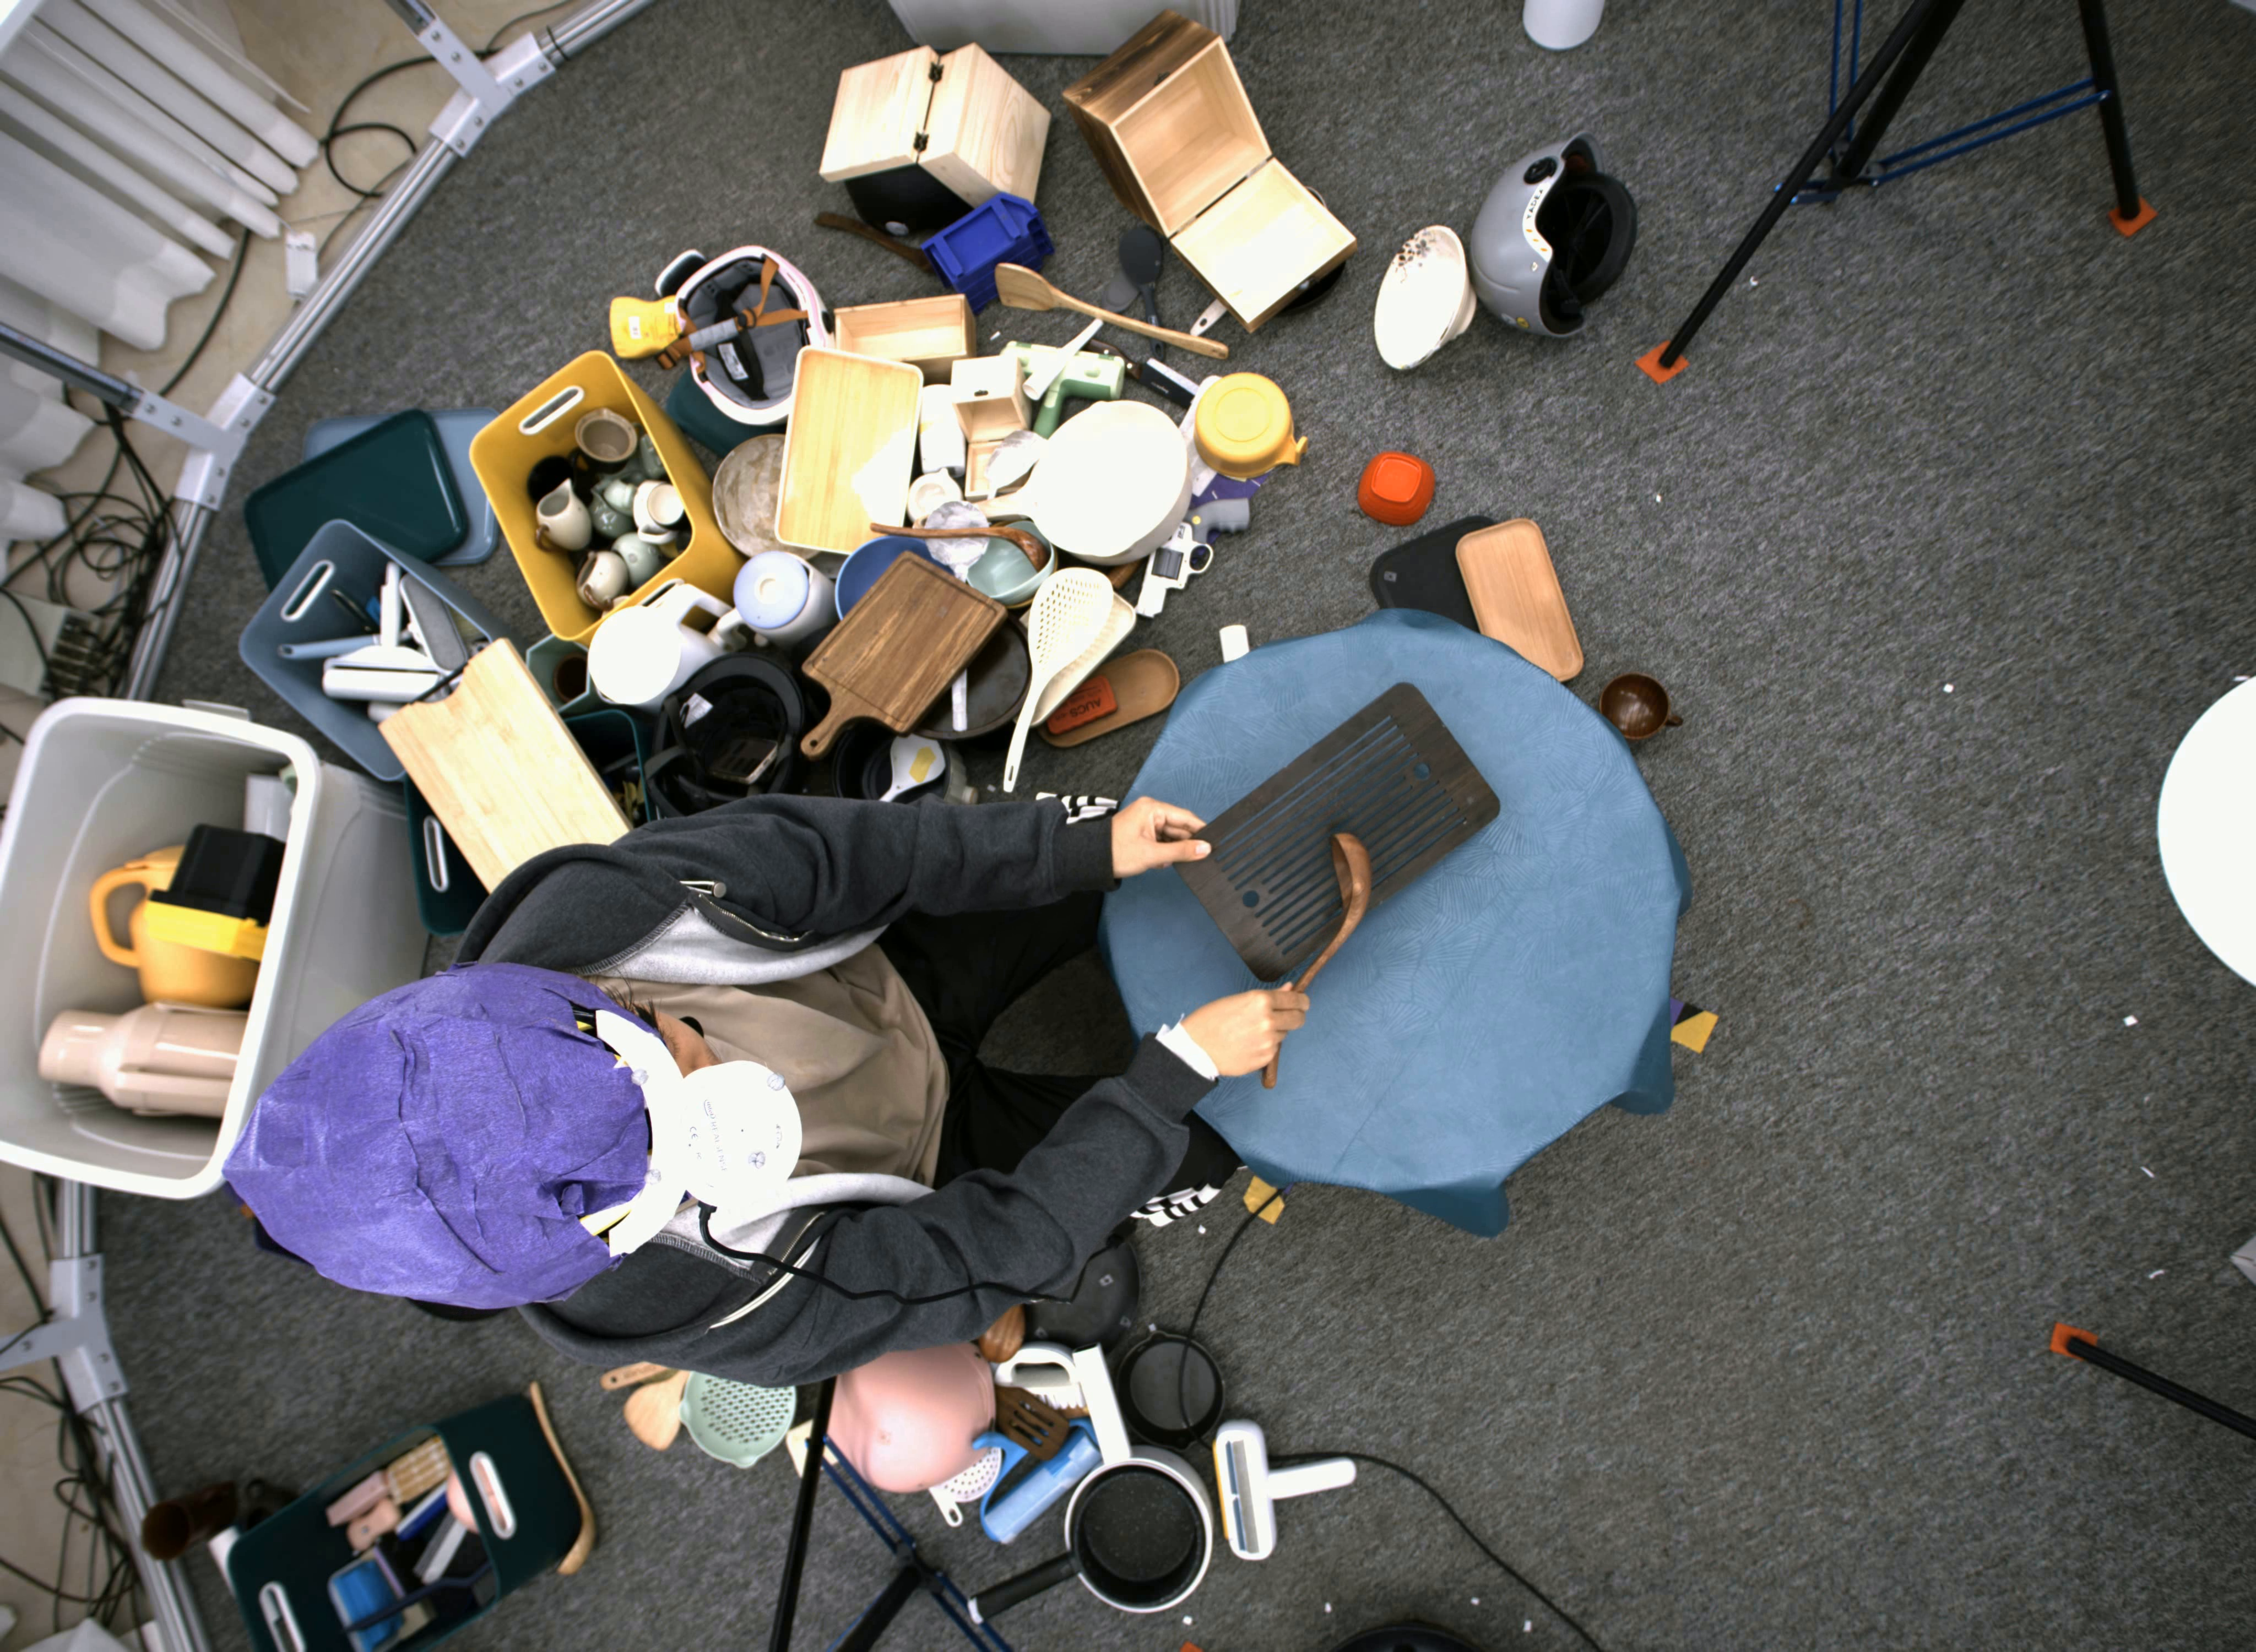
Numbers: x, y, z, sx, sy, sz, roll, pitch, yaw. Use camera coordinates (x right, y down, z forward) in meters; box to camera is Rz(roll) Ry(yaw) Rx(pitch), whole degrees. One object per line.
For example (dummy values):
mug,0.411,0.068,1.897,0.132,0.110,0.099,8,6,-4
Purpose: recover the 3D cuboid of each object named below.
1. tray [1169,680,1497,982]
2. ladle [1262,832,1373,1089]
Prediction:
tray,0.207,0.004,1.397,0.307,0.018,0.170,-36,93,4
ladle,0.172,0.128,1.352,0.065,0.076,0.260,28,89,4
